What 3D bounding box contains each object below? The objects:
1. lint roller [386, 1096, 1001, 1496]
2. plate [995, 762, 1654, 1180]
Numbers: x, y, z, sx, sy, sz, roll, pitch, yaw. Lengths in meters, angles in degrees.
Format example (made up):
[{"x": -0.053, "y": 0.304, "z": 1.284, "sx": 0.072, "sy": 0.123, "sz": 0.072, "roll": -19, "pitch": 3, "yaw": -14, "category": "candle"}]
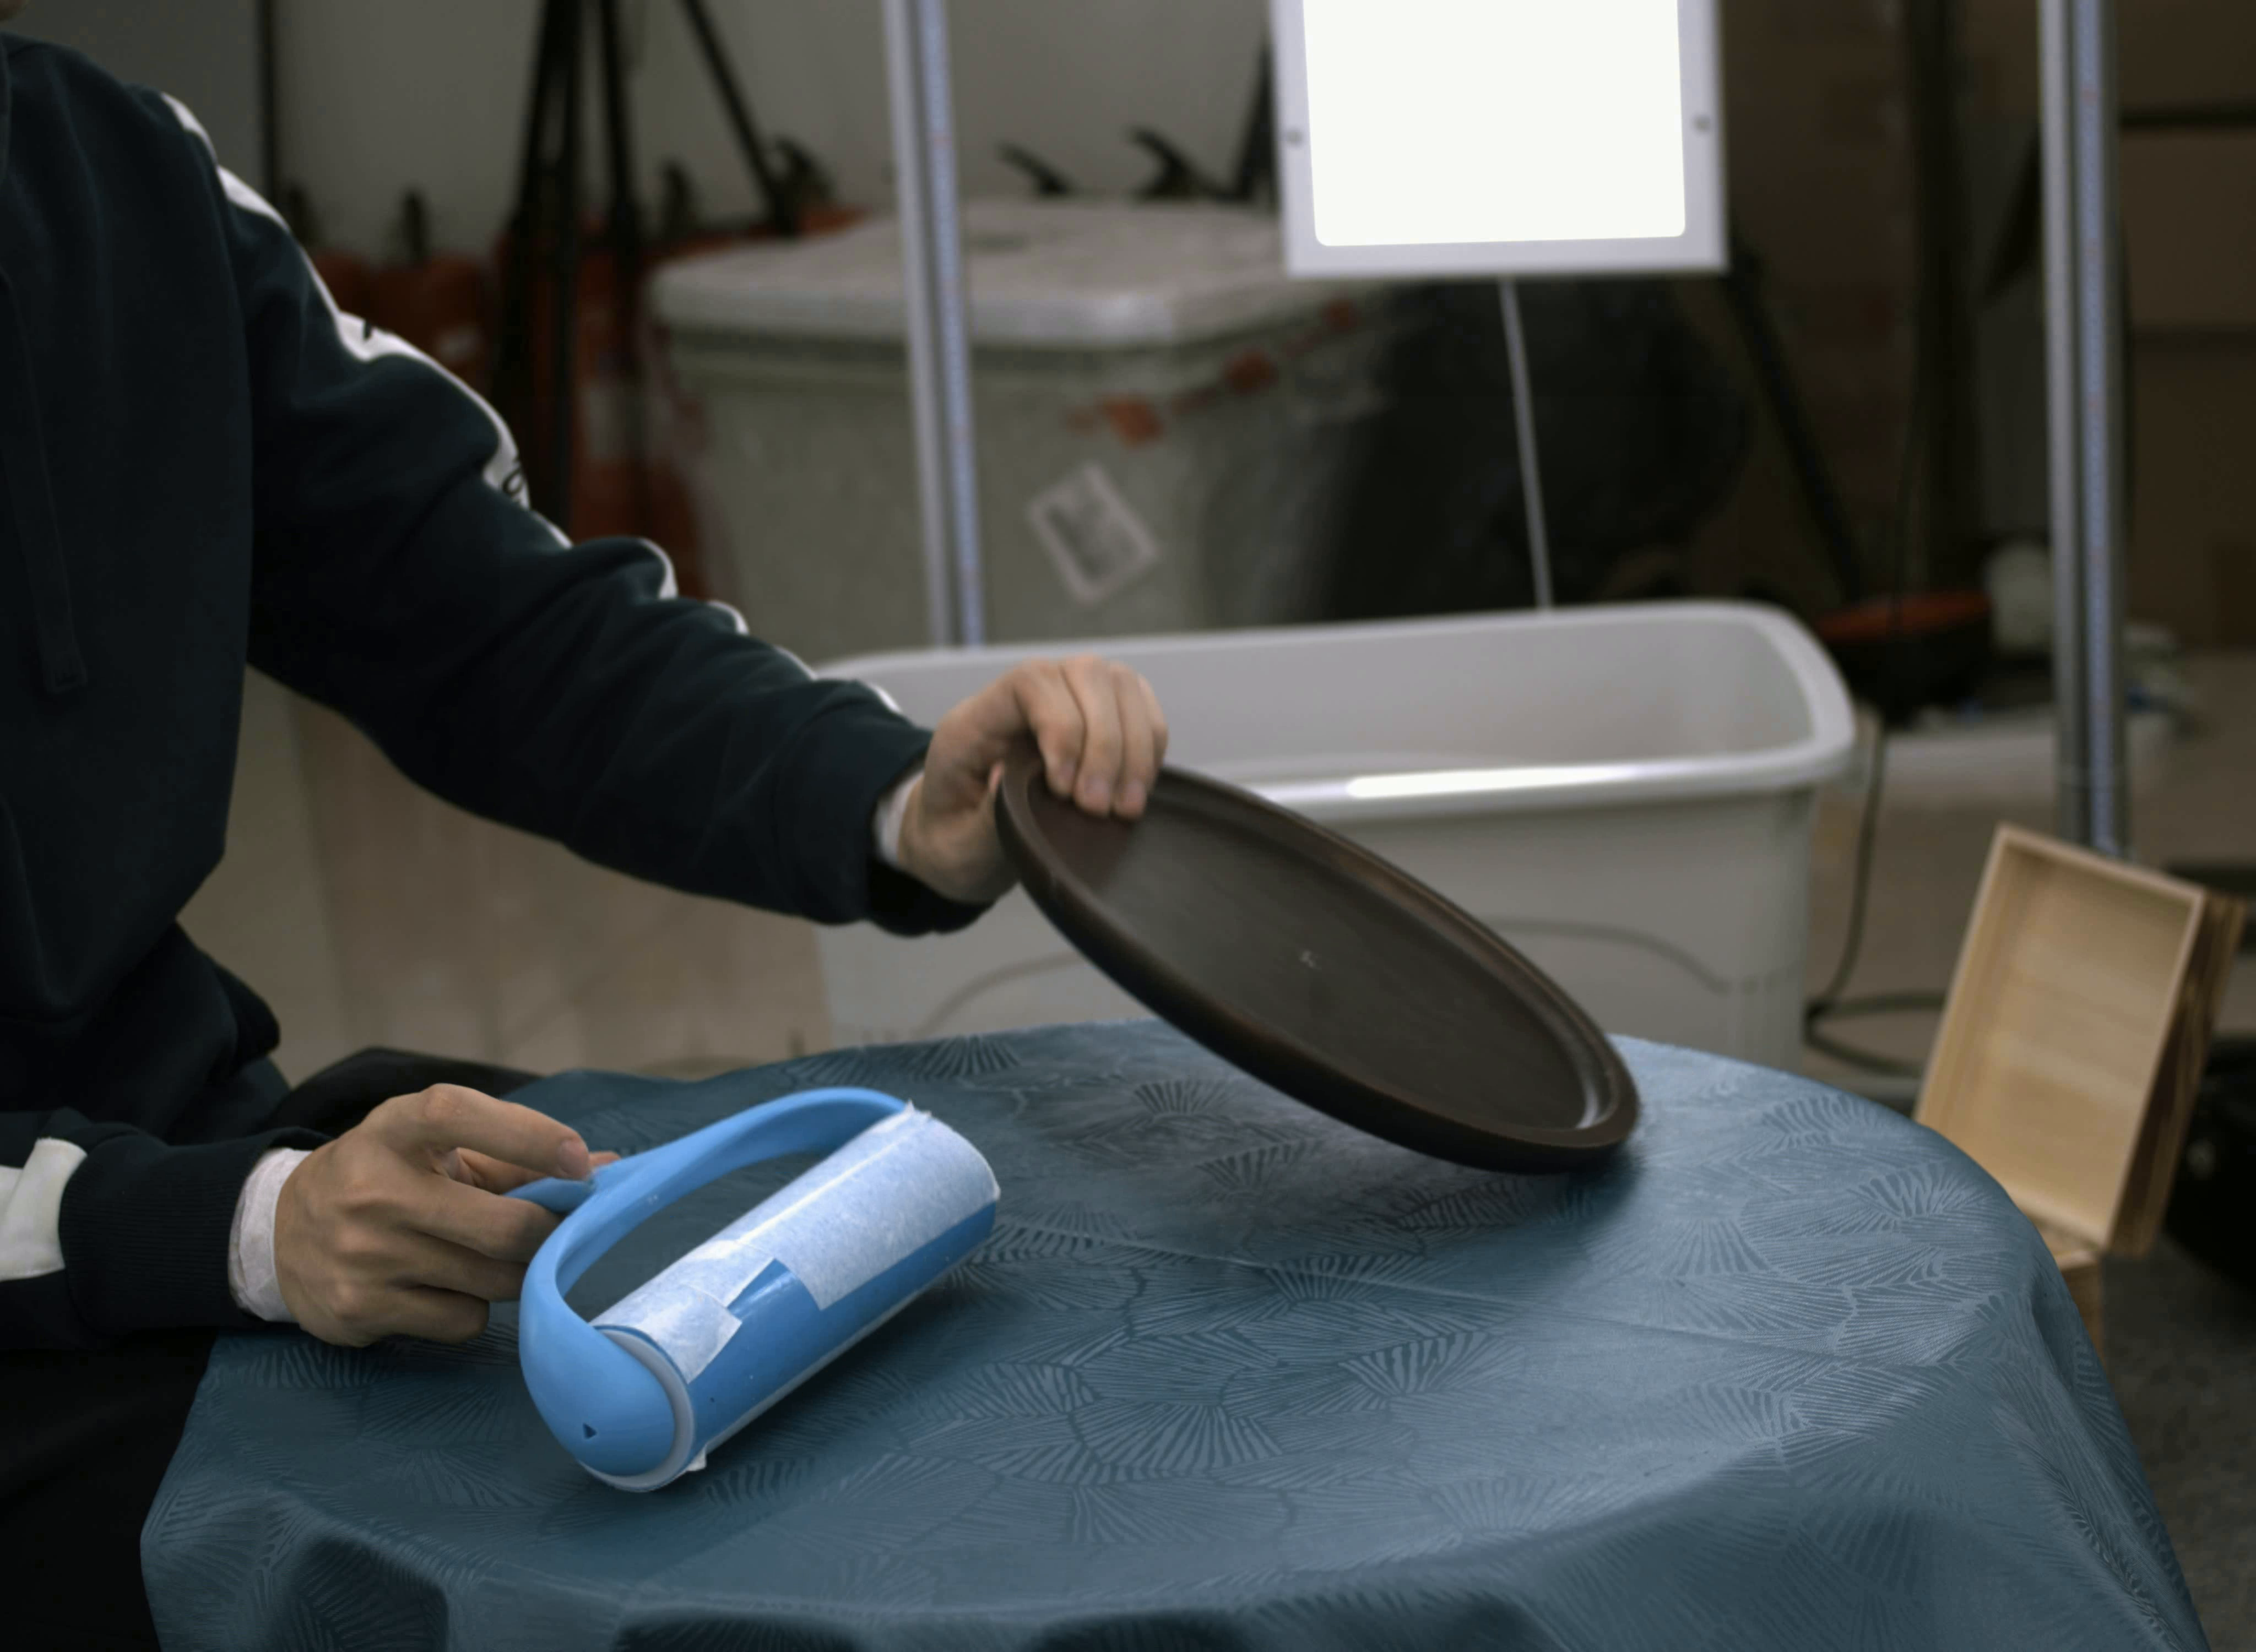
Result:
[{"x": -0.161, "y": 0.142, "z": 1.750, "sx": 0.183, "sy": 0.068, "sz": 0.224, "roll": 5, "pitch": 20, "yaw": 25, "category": "lint roller"}, {"x": 0.066, "y": 0.049, "z": 1.901, "sx": 0.253, "sy": 0.029, "sz": 0.254, "roll": 25, "pitch": 16, "yaw": -10, "category": "plate"}]
